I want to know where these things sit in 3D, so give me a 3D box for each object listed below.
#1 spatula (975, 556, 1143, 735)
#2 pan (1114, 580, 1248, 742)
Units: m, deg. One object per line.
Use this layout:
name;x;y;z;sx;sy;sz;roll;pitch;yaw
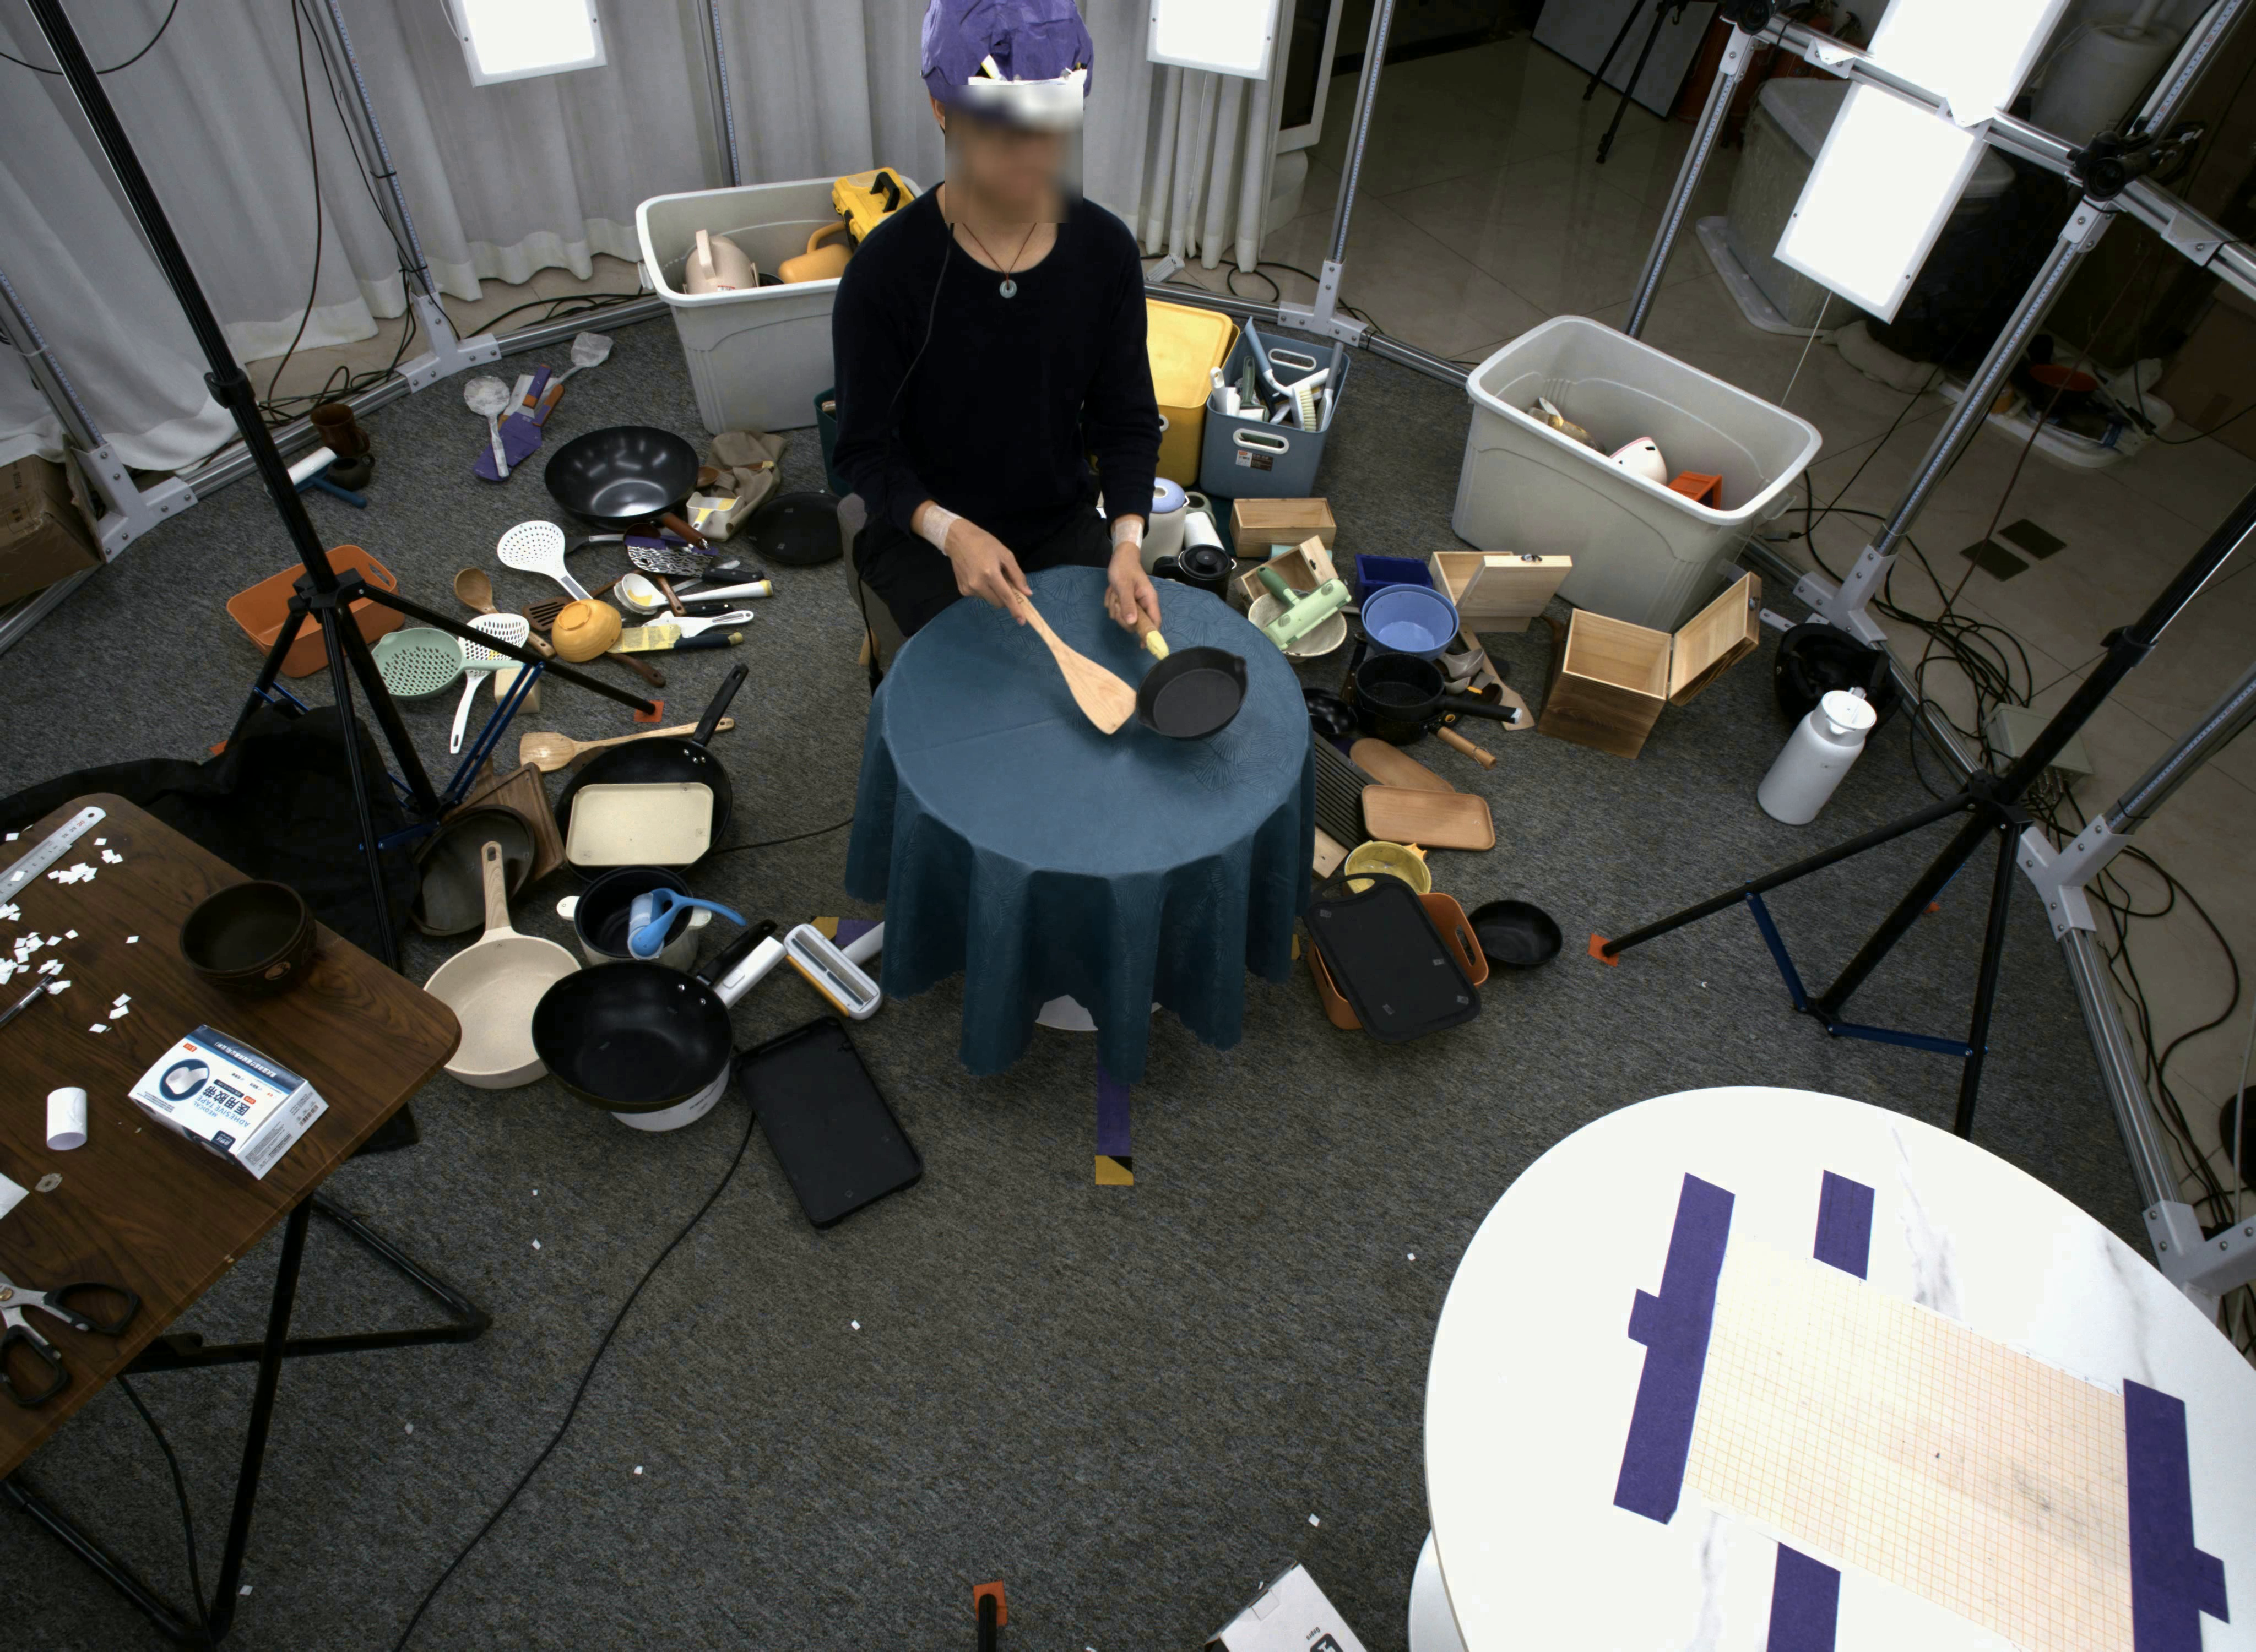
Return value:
spatula;-0.104;-0.261;1.790;0.080;0.016;0.331;-36;76;-21
pan;0.054;-0.237;1.796;0.169;0.048;0.332;-28;51;-1
